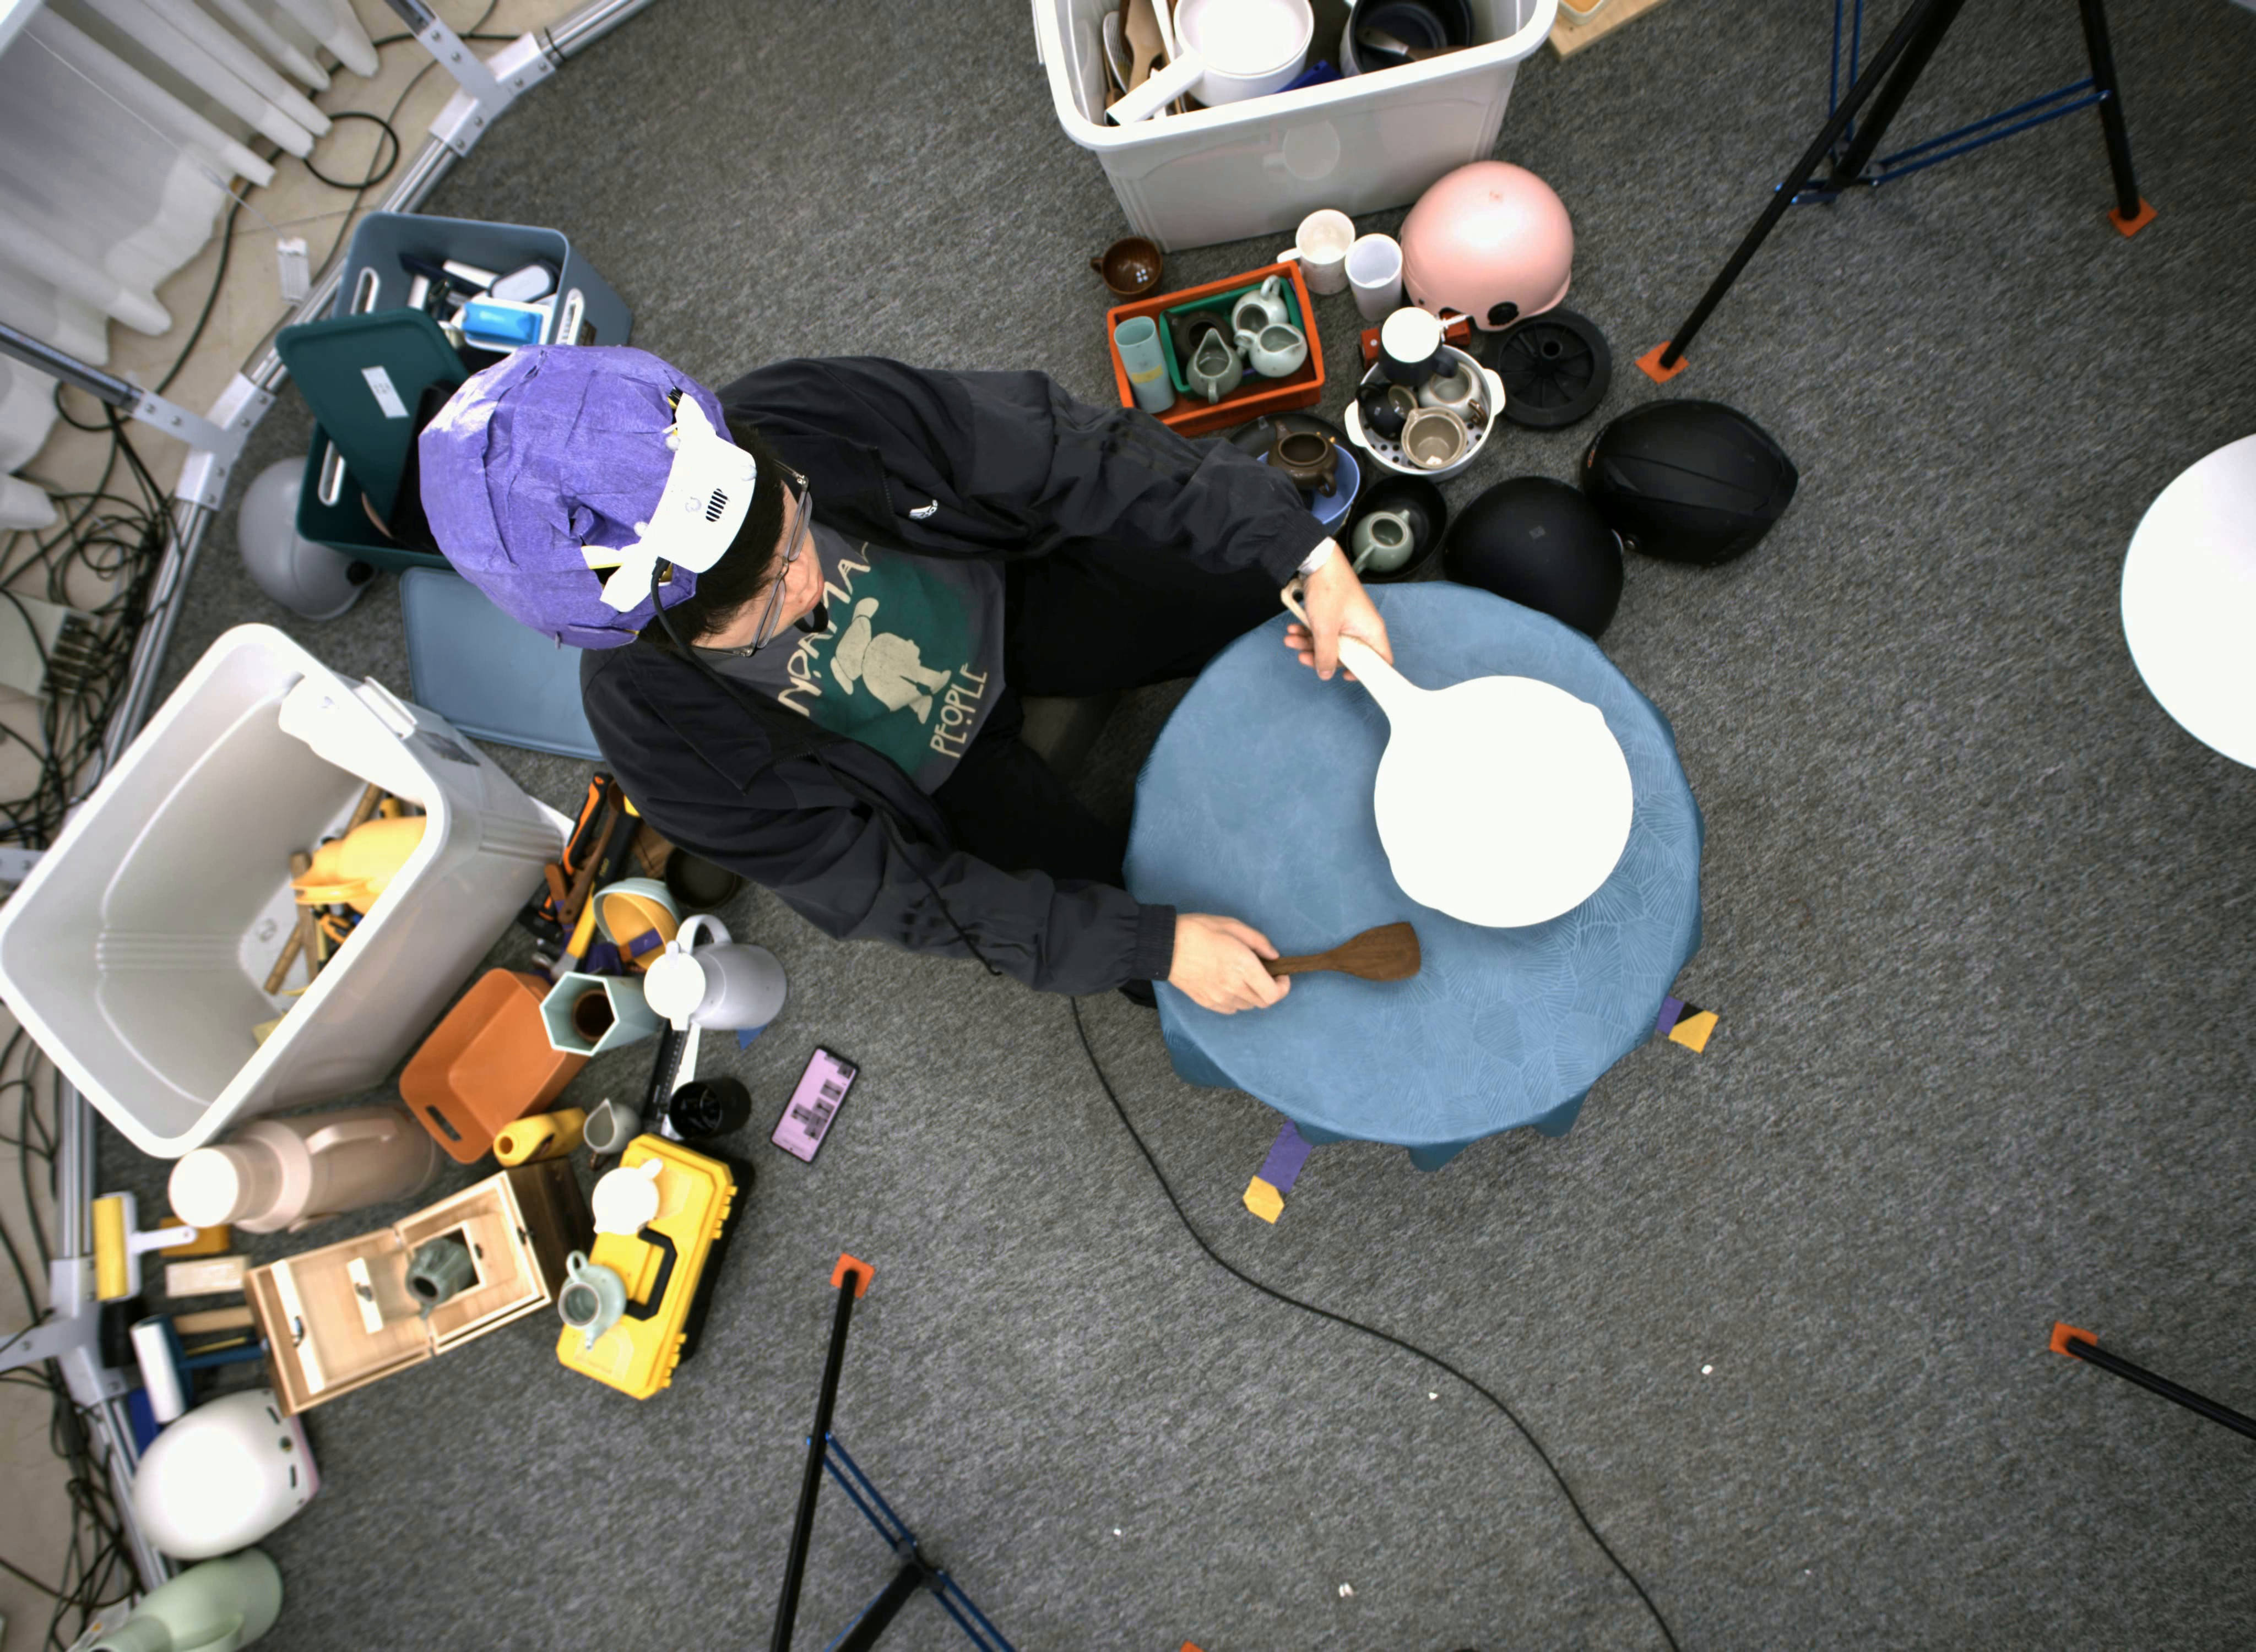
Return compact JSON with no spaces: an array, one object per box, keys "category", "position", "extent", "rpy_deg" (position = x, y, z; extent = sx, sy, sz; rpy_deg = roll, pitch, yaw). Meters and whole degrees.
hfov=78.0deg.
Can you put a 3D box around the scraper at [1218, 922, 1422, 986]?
[{"category":"scraper","position":[0.199,0.141,1.446],"extent":[0.212,0.011,0.074],"rpy_deg":[-7,53,9]}]

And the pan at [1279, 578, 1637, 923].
[{"category":"pan","position":[0.318,-0.094,1.408],"extent":[0.265,0.102,0.433],"rpy_deg":[-45,80,7]}]
